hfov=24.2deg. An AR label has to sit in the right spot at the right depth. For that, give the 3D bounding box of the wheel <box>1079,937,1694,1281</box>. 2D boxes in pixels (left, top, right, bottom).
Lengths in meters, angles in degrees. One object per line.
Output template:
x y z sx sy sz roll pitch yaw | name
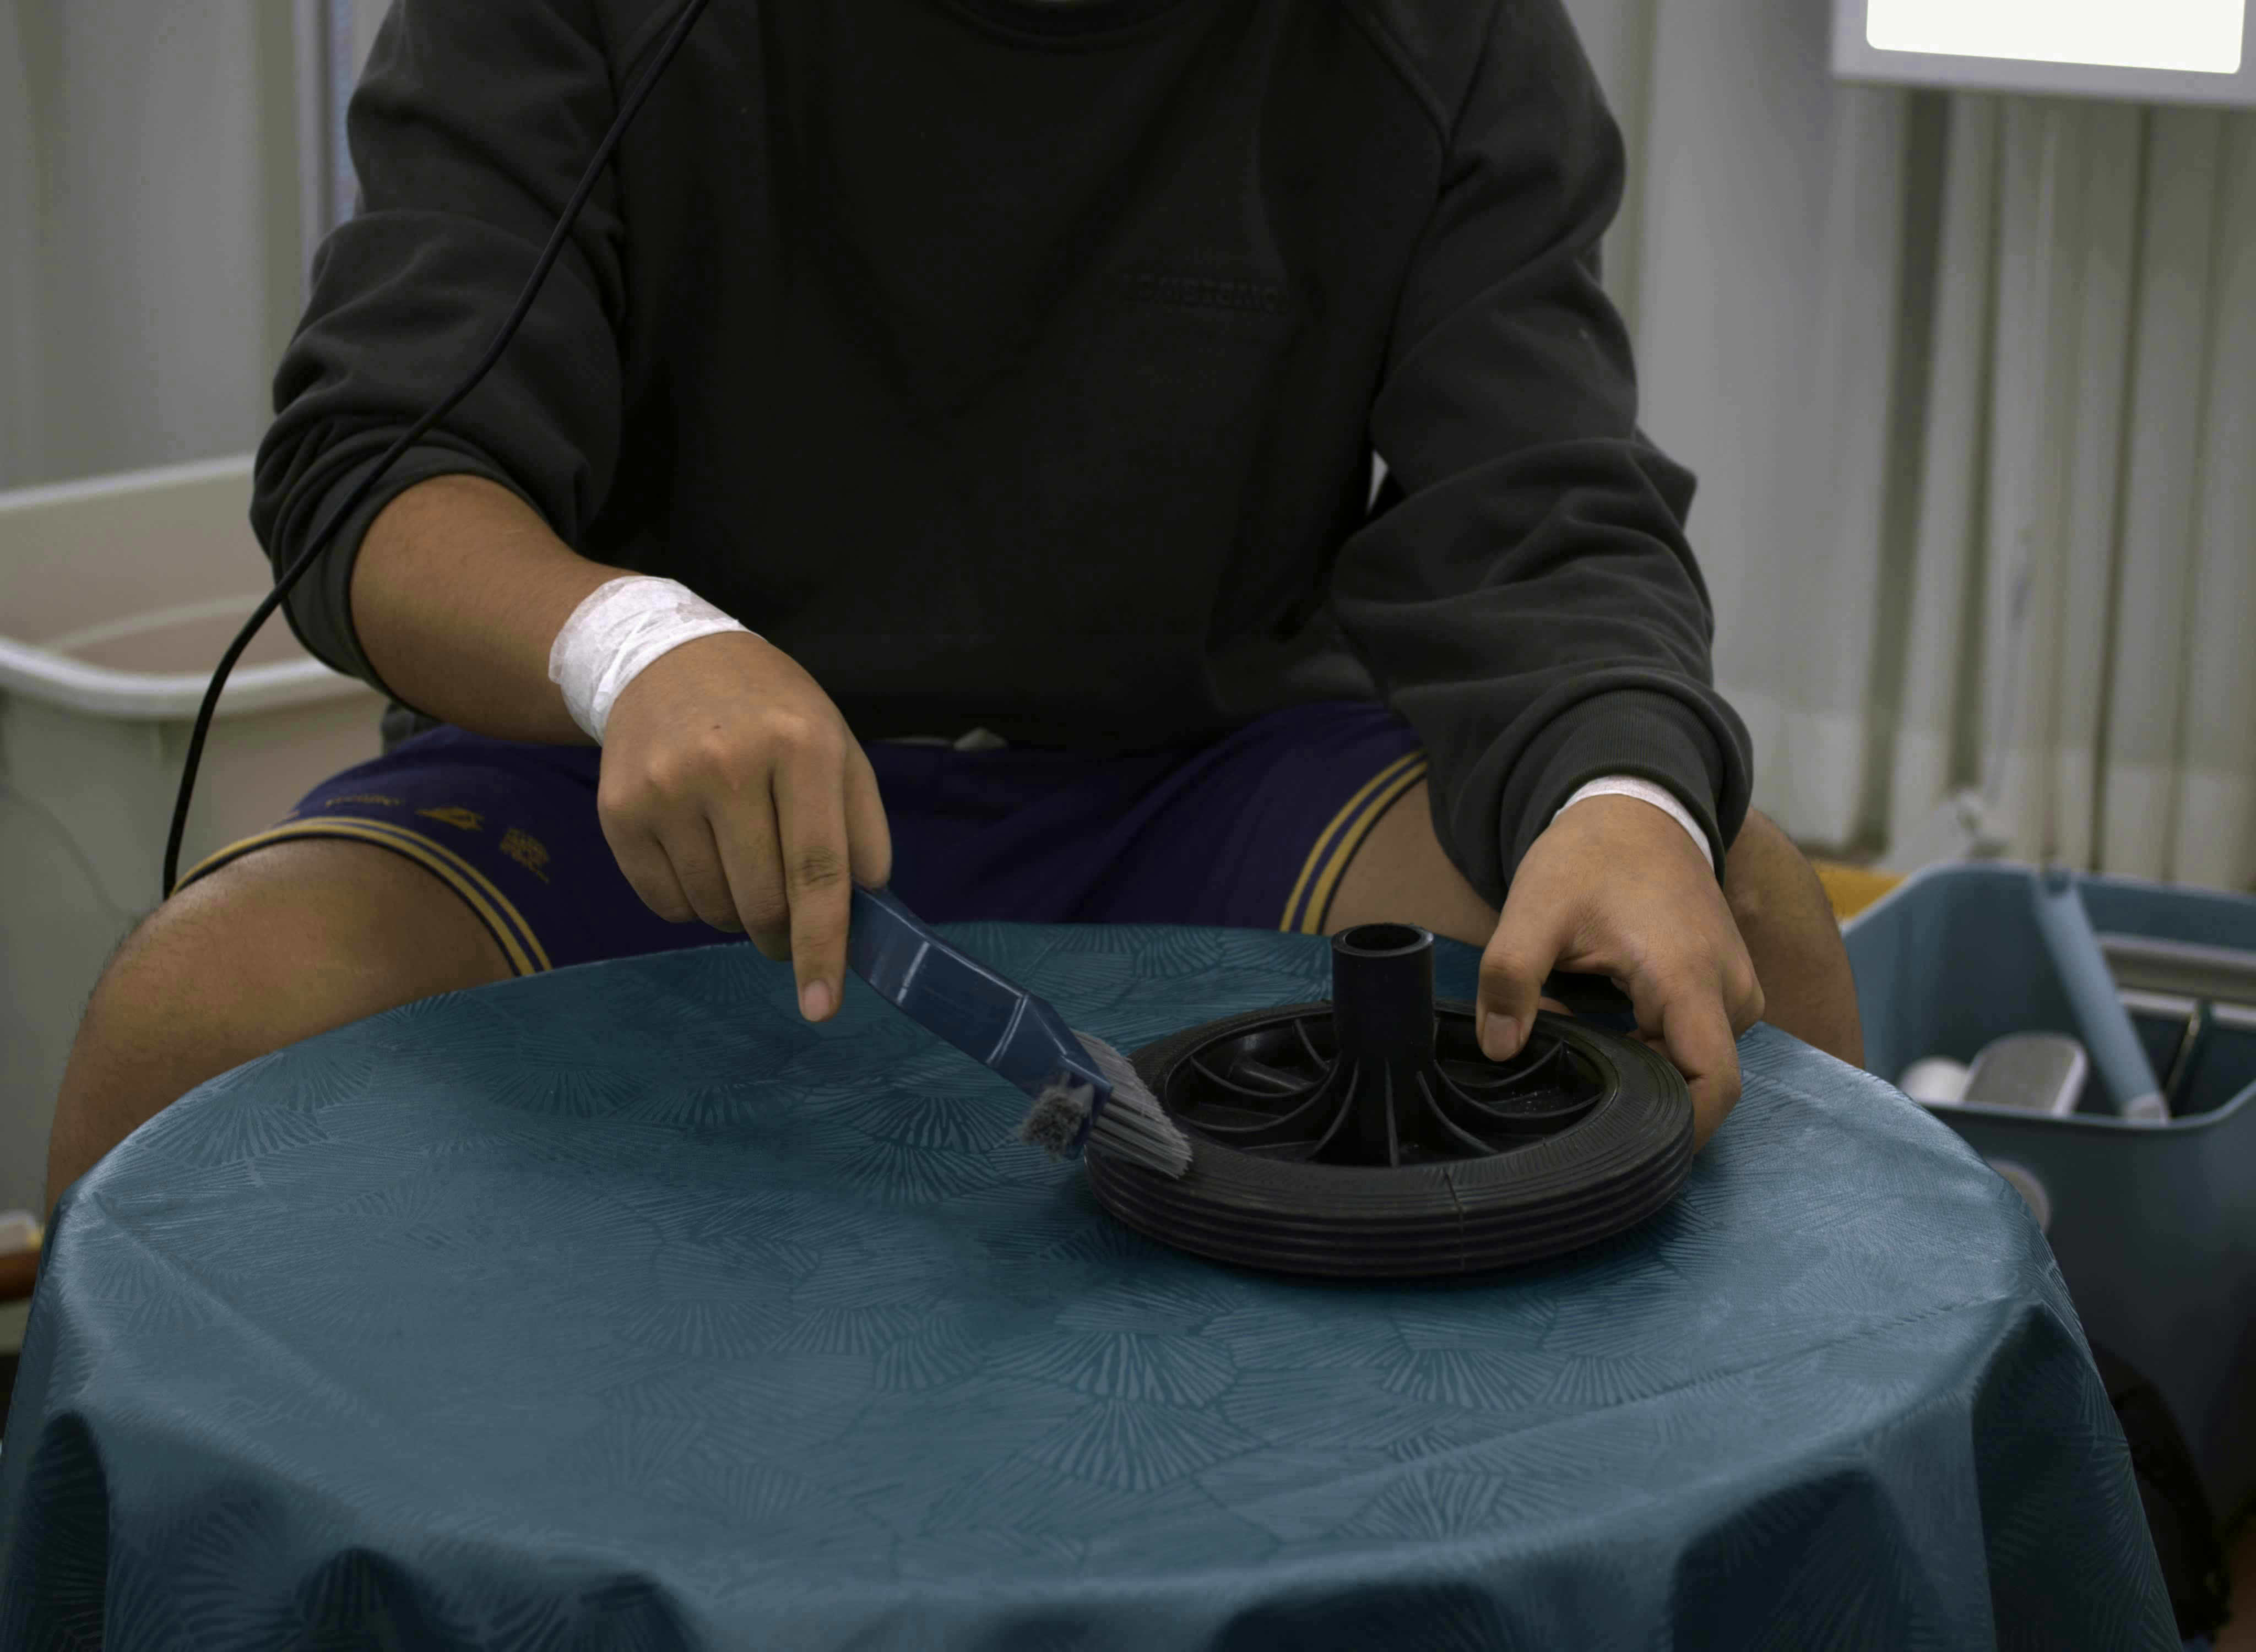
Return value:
0.078 0.076 1.612 0.188 0.080 0.187 6 20 23 | wheel

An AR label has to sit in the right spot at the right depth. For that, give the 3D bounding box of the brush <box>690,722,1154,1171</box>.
-0.080 0.034 1.628 0.097 0.033 0.269 13 17 -45 | brush
